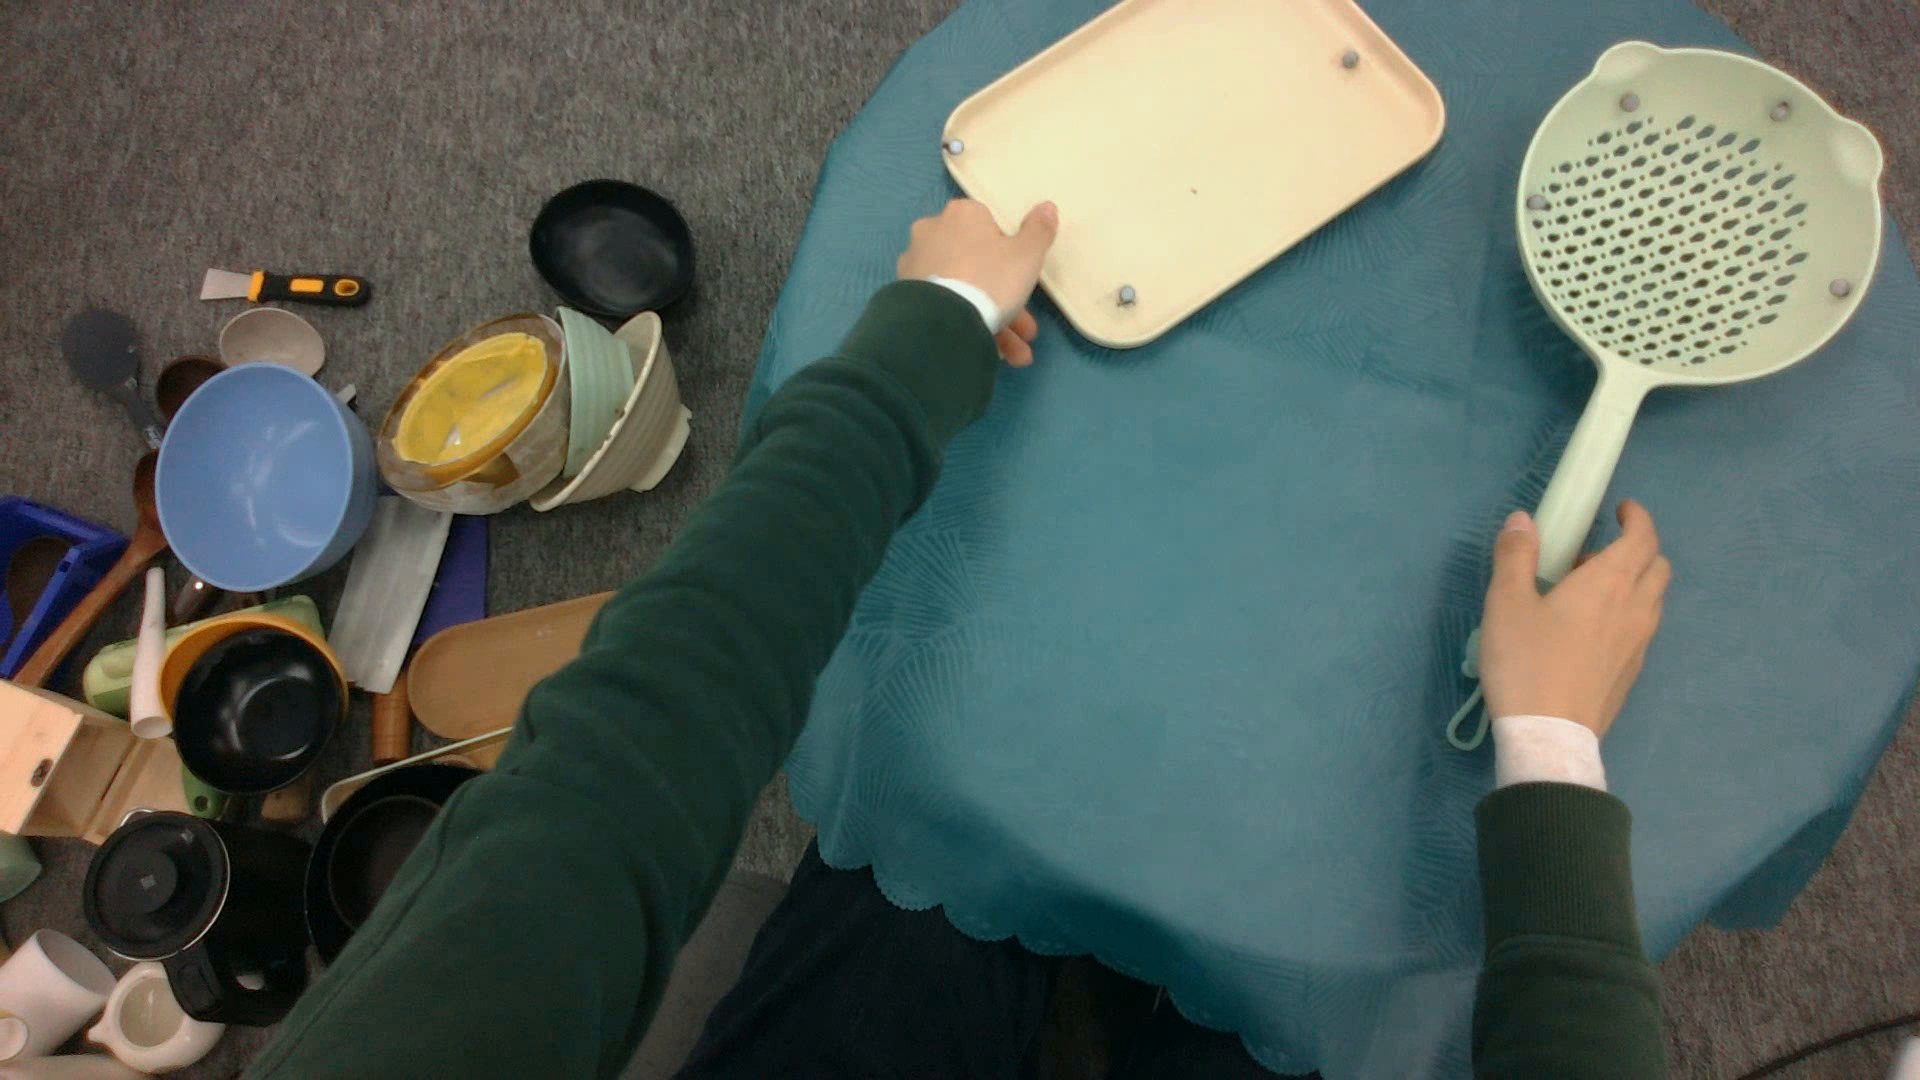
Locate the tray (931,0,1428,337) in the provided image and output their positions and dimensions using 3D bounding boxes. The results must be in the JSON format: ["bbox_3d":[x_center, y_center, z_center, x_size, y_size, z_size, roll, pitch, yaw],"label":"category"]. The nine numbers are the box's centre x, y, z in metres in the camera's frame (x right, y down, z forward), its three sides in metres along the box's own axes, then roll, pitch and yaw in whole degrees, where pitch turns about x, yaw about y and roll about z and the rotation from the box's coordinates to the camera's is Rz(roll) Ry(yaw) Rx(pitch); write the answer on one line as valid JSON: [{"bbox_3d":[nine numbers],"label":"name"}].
[{"bbox_3d":[0.118,-0.223,0.744,0.240,0.017,0.171,-35,75,-9],"label":"tray"}]

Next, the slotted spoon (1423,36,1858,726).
[{"bbox_3d":[0.307,-0.075,0.670,0.169,0.075,0.360,25,74,9],"label":"slotted spoon"}]
